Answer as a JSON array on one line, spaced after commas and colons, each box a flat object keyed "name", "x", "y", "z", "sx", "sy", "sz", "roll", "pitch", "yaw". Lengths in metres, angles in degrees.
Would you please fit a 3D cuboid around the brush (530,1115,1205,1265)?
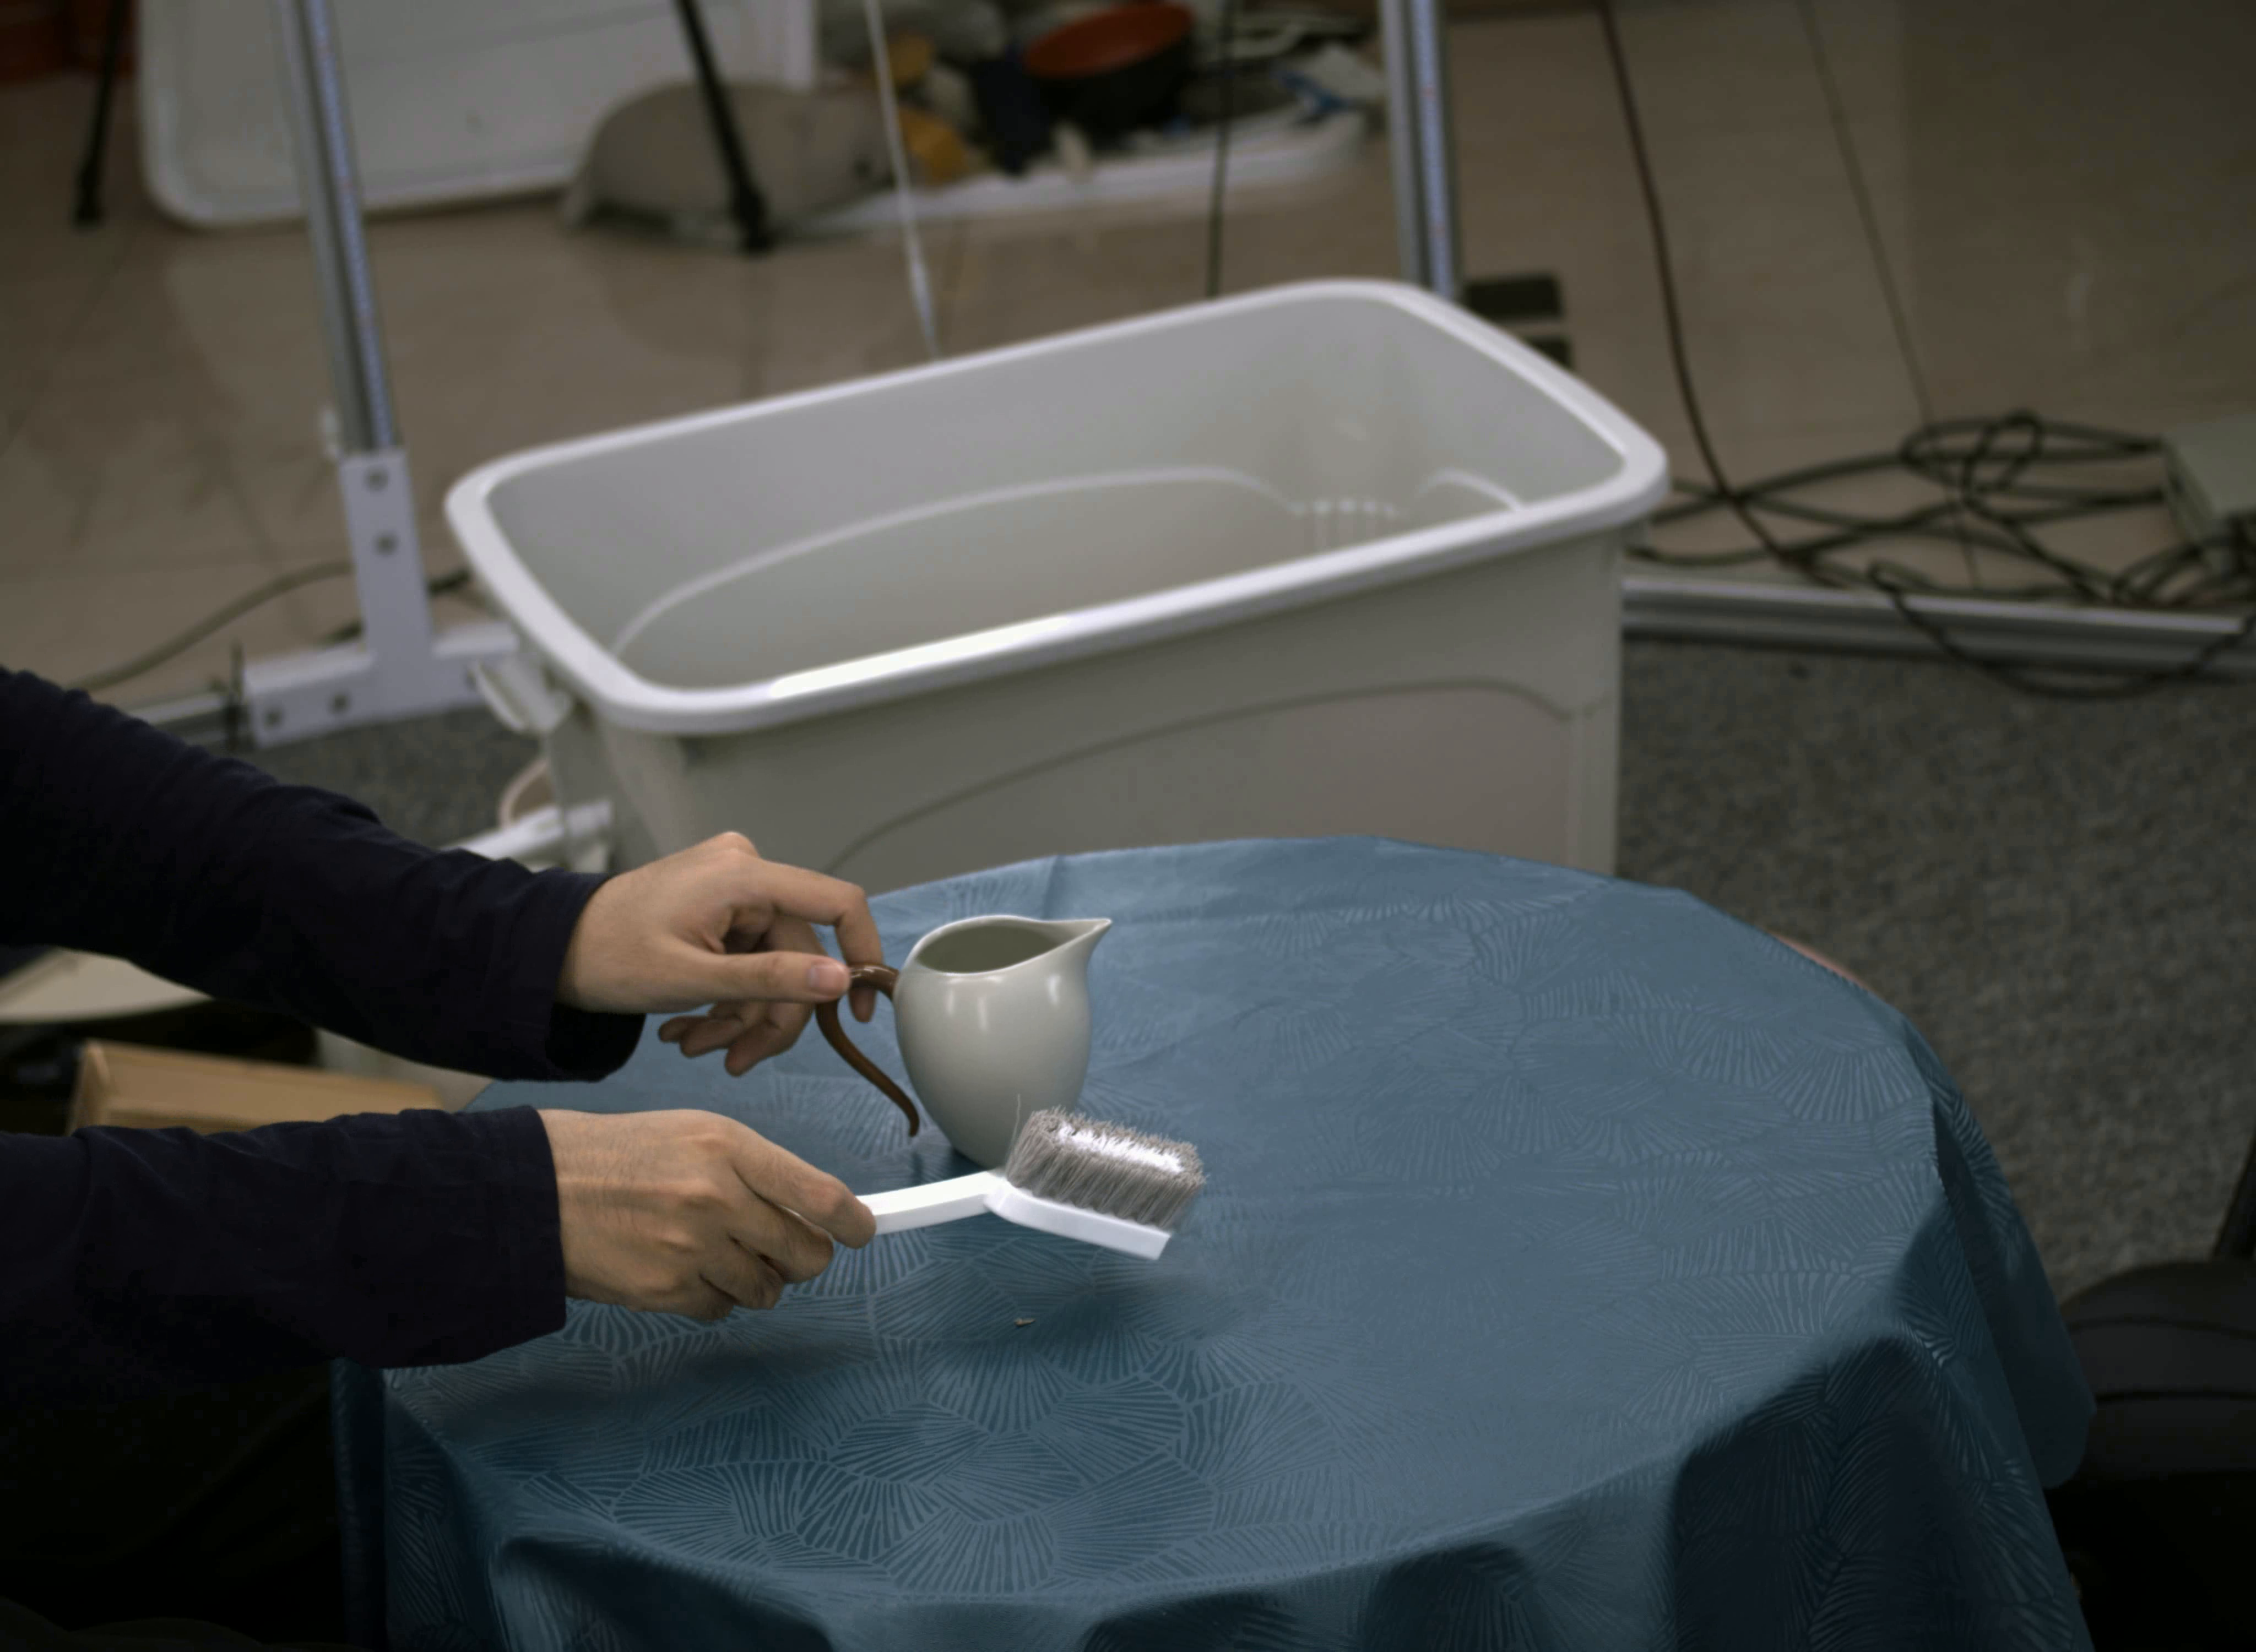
[{"name": "brush", "x": -0.094, "y": 0.130, "z": 2.050, "sx": 0.243, "sy": 0.051, "sz": 0.034, "roll": 1, "pitch": 37, "yaw": -4}]

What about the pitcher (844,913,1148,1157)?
[{"name": "pitcher", "x": -0.049, "y": 0.079, "z": 2.181, "sx": 0.119, "sy": 0.089, "sz": 0.075, "roll": -2, "pitch": 22, "yaw": 4}]
